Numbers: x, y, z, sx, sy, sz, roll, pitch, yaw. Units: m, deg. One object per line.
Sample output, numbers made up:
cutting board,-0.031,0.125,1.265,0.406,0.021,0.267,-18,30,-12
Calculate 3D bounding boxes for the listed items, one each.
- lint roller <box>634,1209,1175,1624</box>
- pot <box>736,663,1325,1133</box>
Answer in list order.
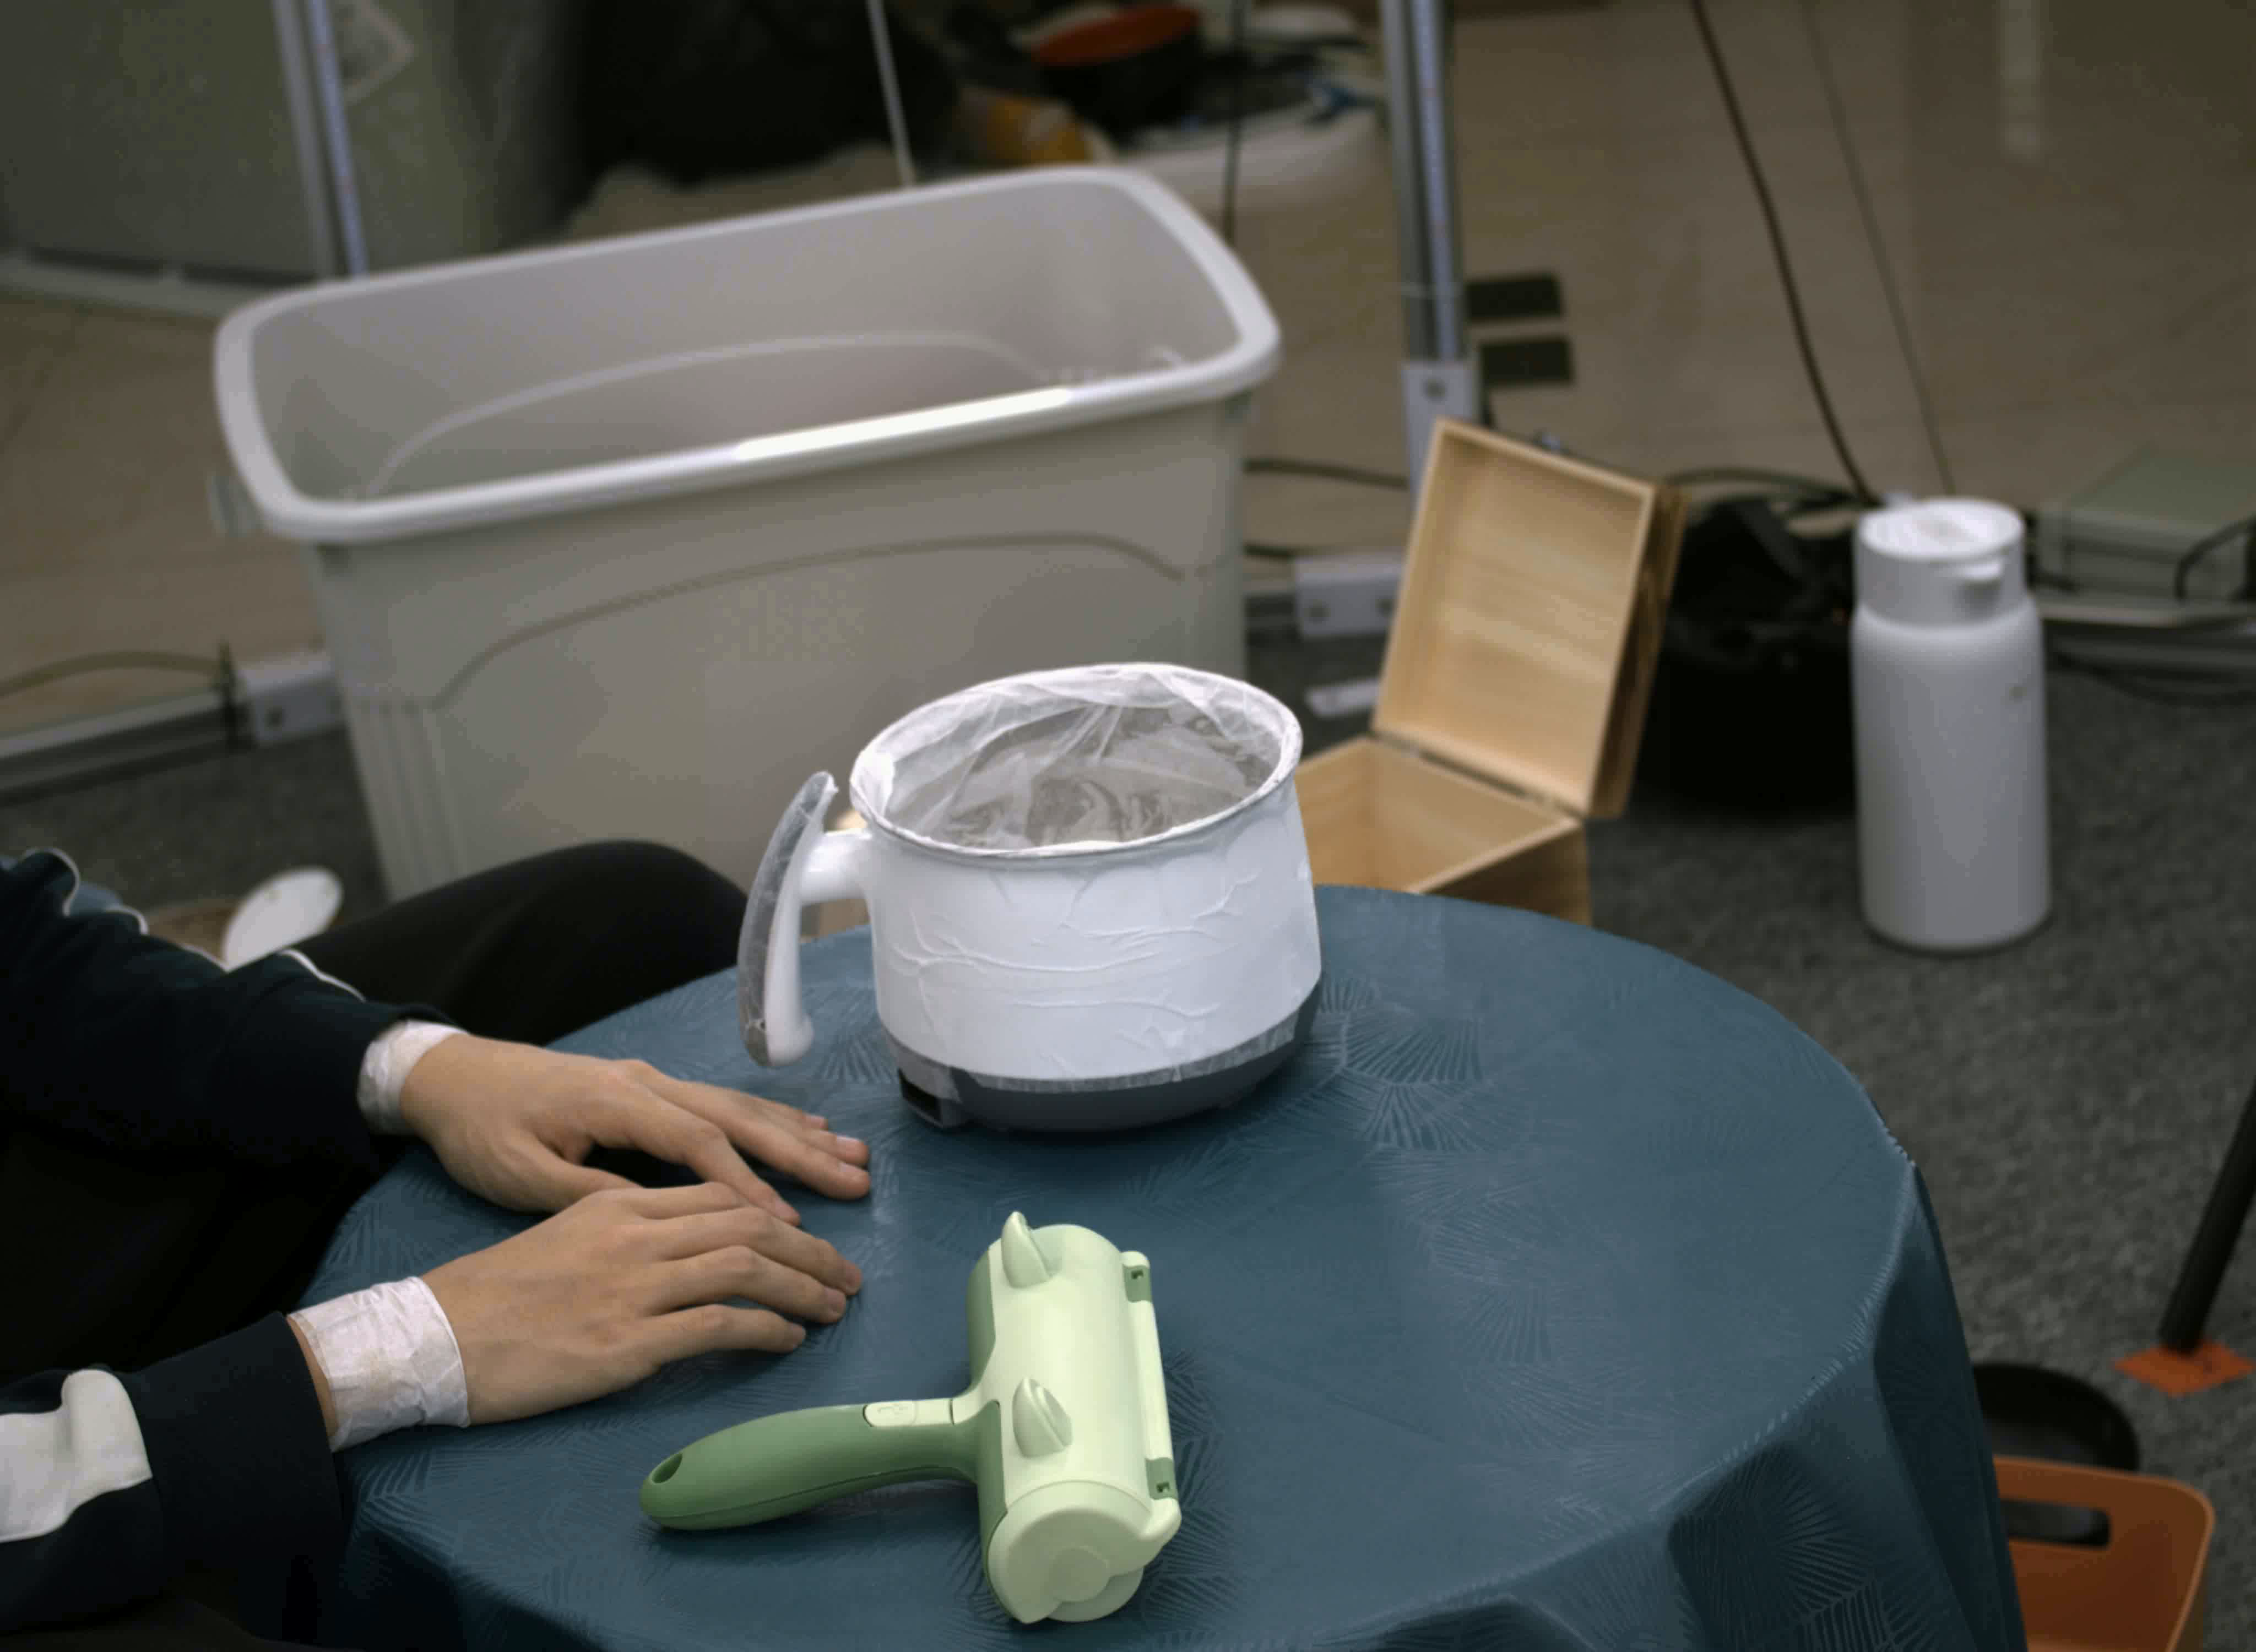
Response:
lint roller,-0.080,0.198,1.947,0.183,0.083,0.195,-2,25,-2
pot,-0.041,0.033,2.217,0.233,0.139,0.176,-6,25,-1
